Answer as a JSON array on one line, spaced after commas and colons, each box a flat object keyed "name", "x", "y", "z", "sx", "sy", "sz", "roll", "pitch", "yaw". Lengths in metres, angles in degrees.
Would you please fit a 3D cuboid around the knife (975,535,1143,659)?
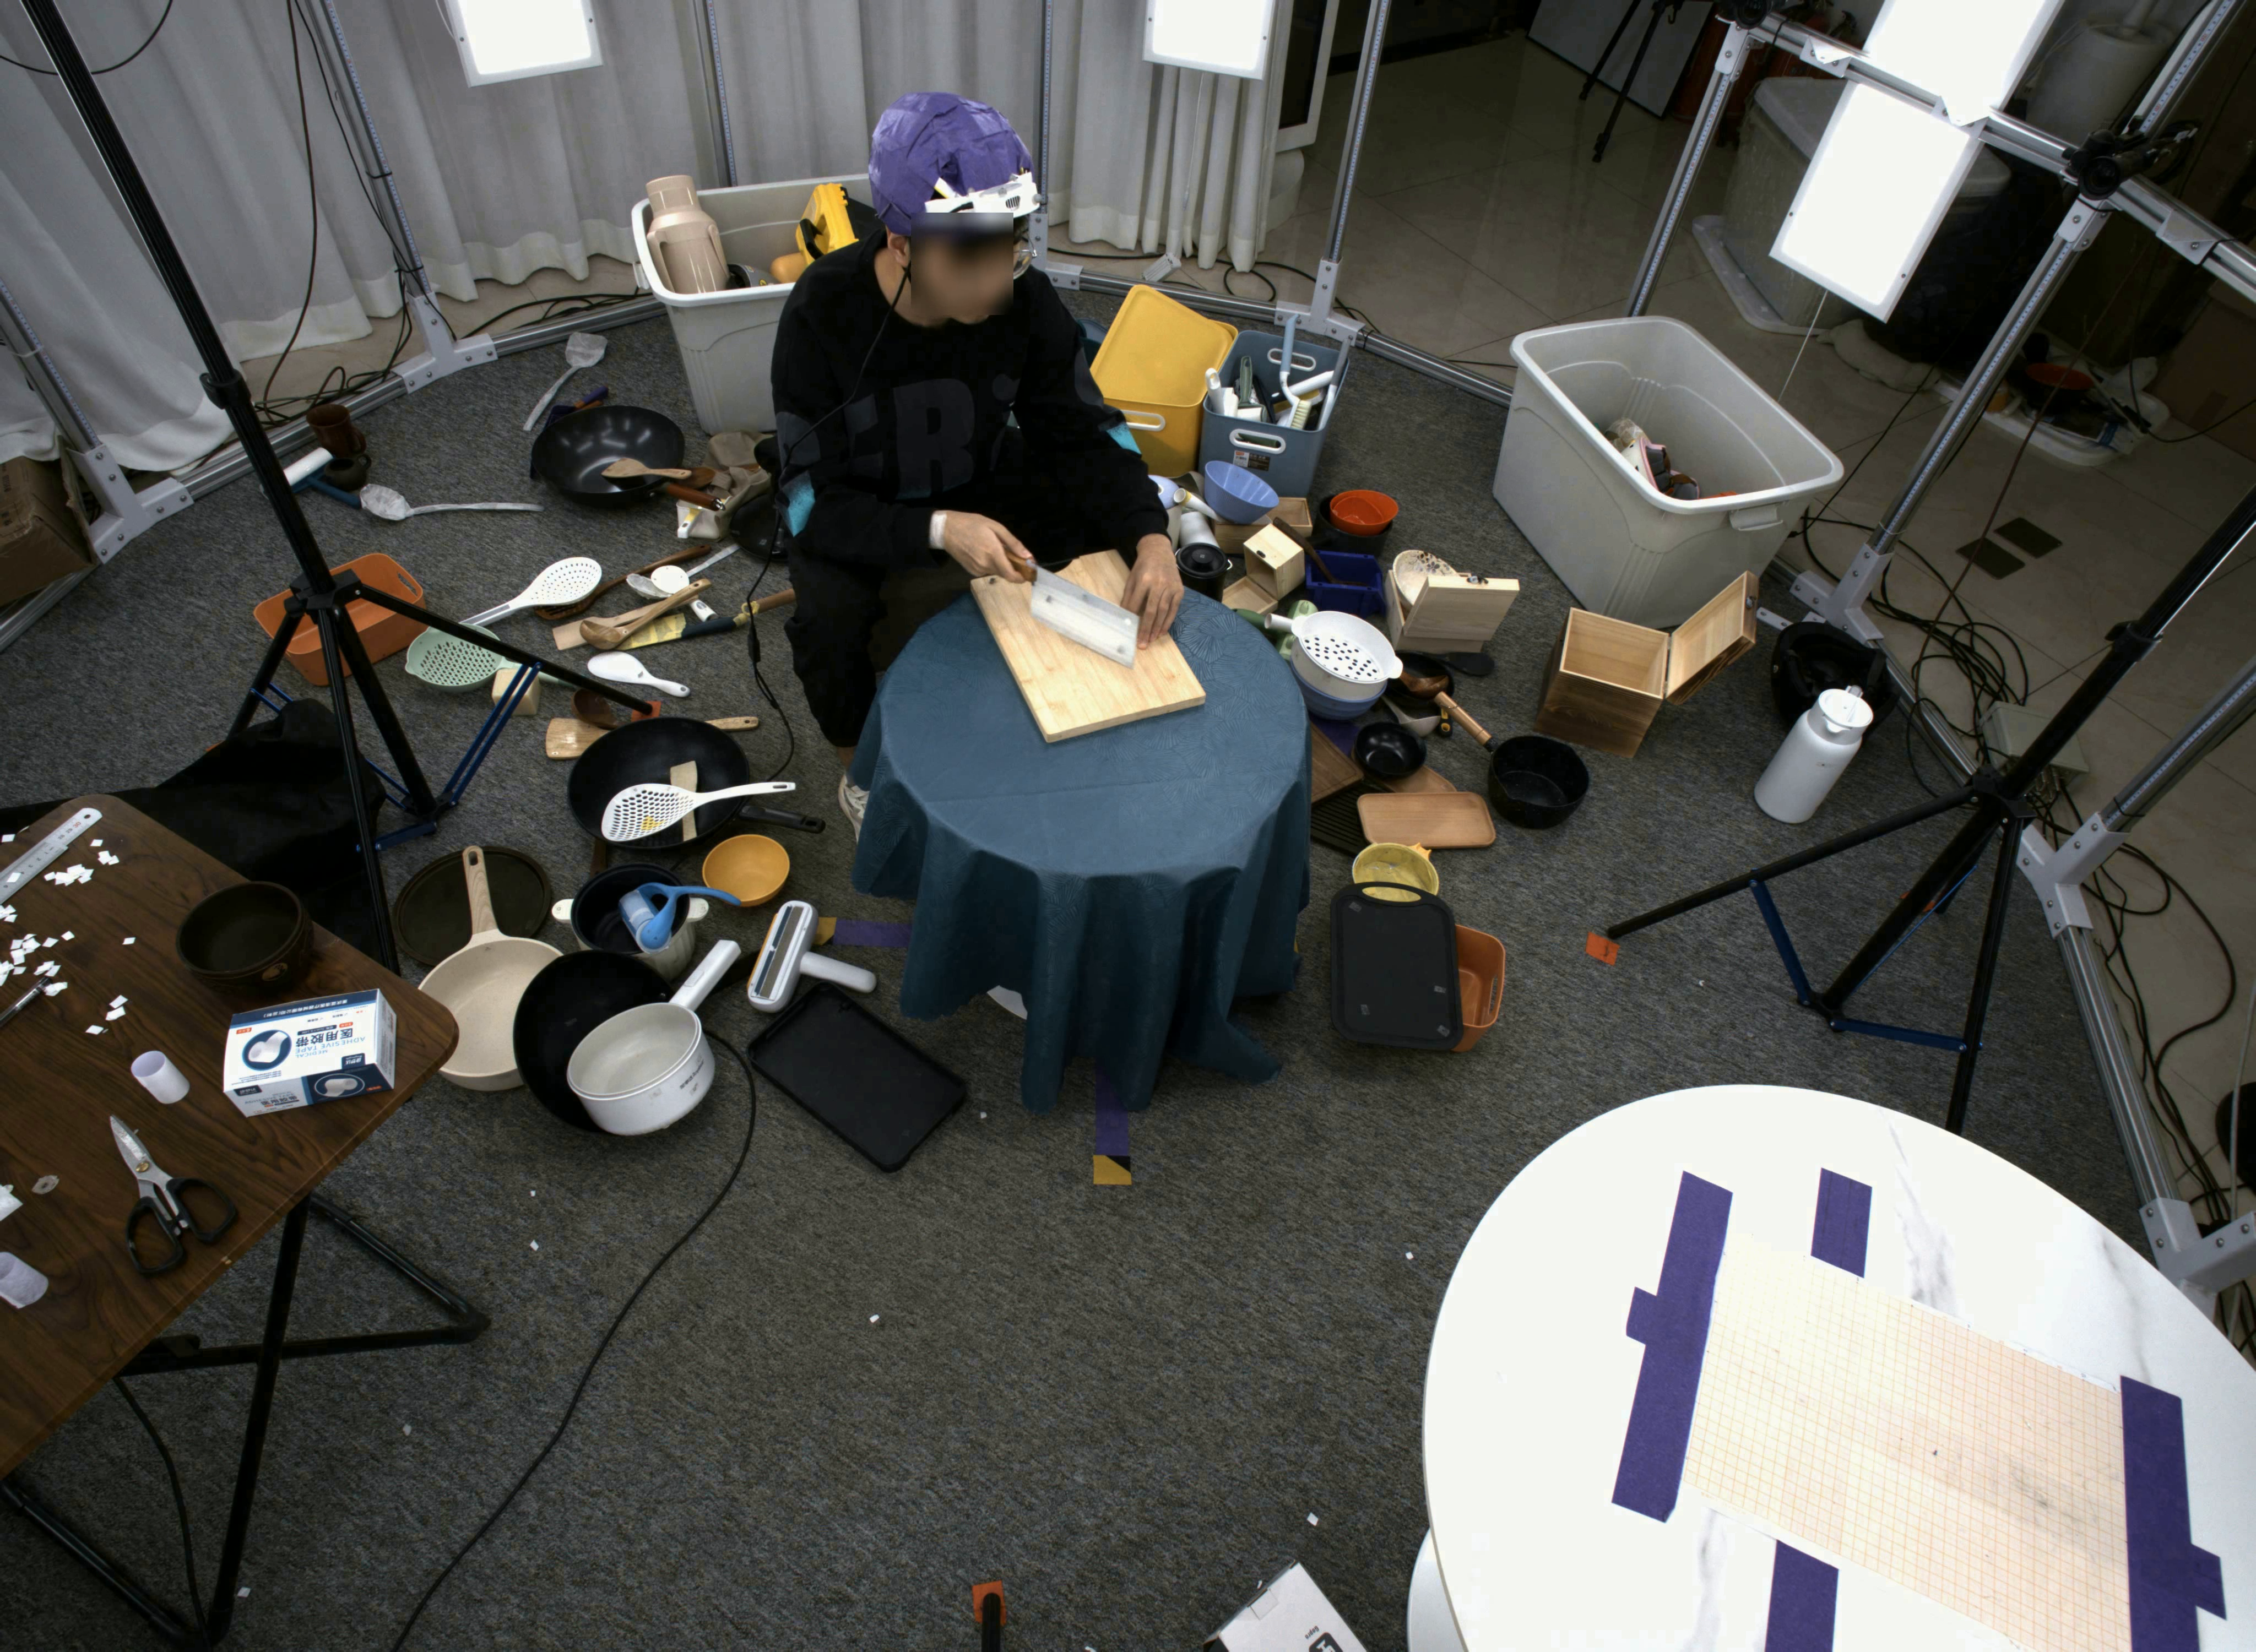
[{"name": "knife", "x": -0.100, "y": -0.321, "z": 1.823, "sx": 0.309, "sy": 0.091, "sz": 0.021, "roll": 31, "pitch": 48, "yaw": 26}]

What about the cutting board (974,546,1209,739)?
[{"name": "cutting board", "x": -0.060, "y": -0.277, "z": 1.894, "sx": 0.251, "sy": 0.023, "sz": 0.357, "roll": -16, "pitch": 52, "yaw": -17}]
